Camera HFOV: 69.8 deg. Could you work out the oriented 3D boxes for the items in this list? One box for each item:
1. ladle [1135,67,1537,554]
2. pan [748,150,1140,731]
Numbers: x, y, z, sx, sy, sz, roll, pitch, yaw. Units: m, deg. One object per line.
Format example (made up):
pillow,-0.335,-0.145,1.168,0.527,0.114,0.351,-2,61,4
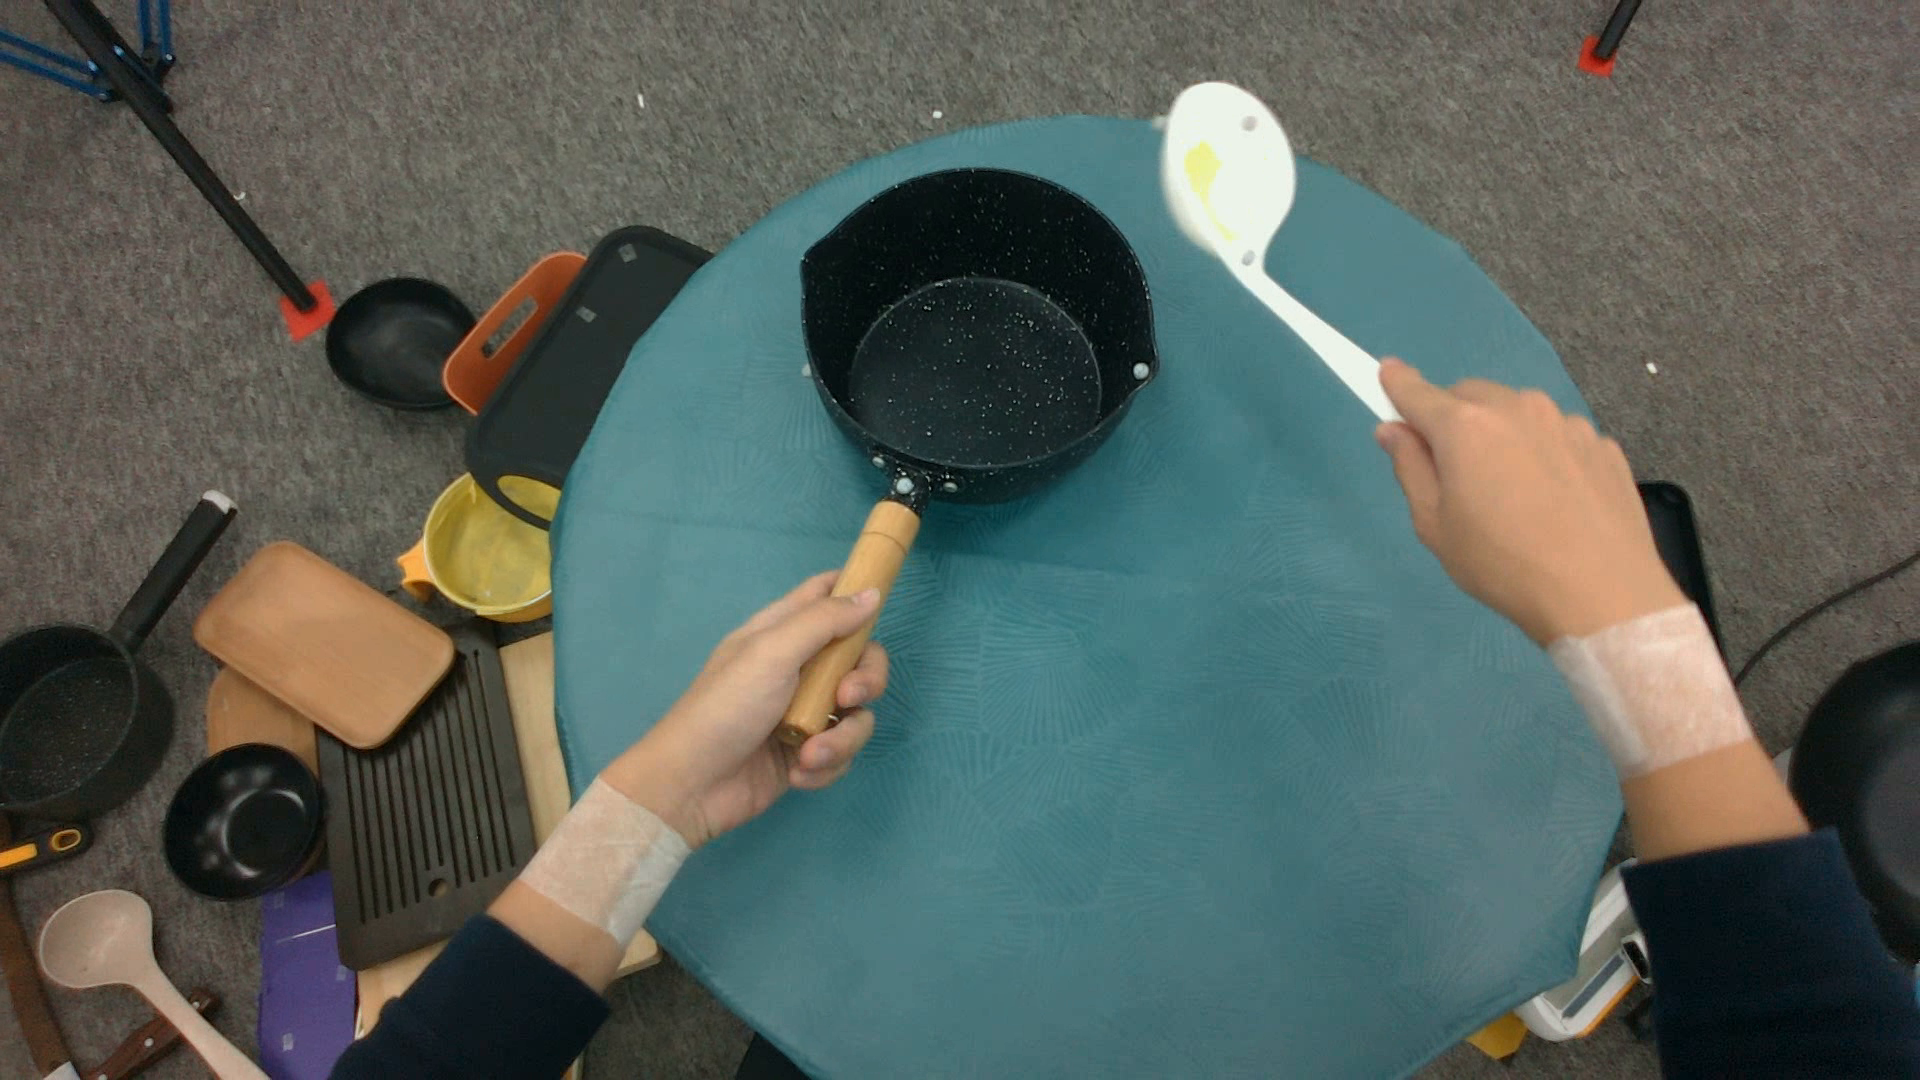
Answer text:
ladle,0.170,-0.117,0.641,0.090,0.069,0.293,11,35,-42
pan,-0.027,-0.047,0.717,0.207,0.108,0.344,17,67,5
